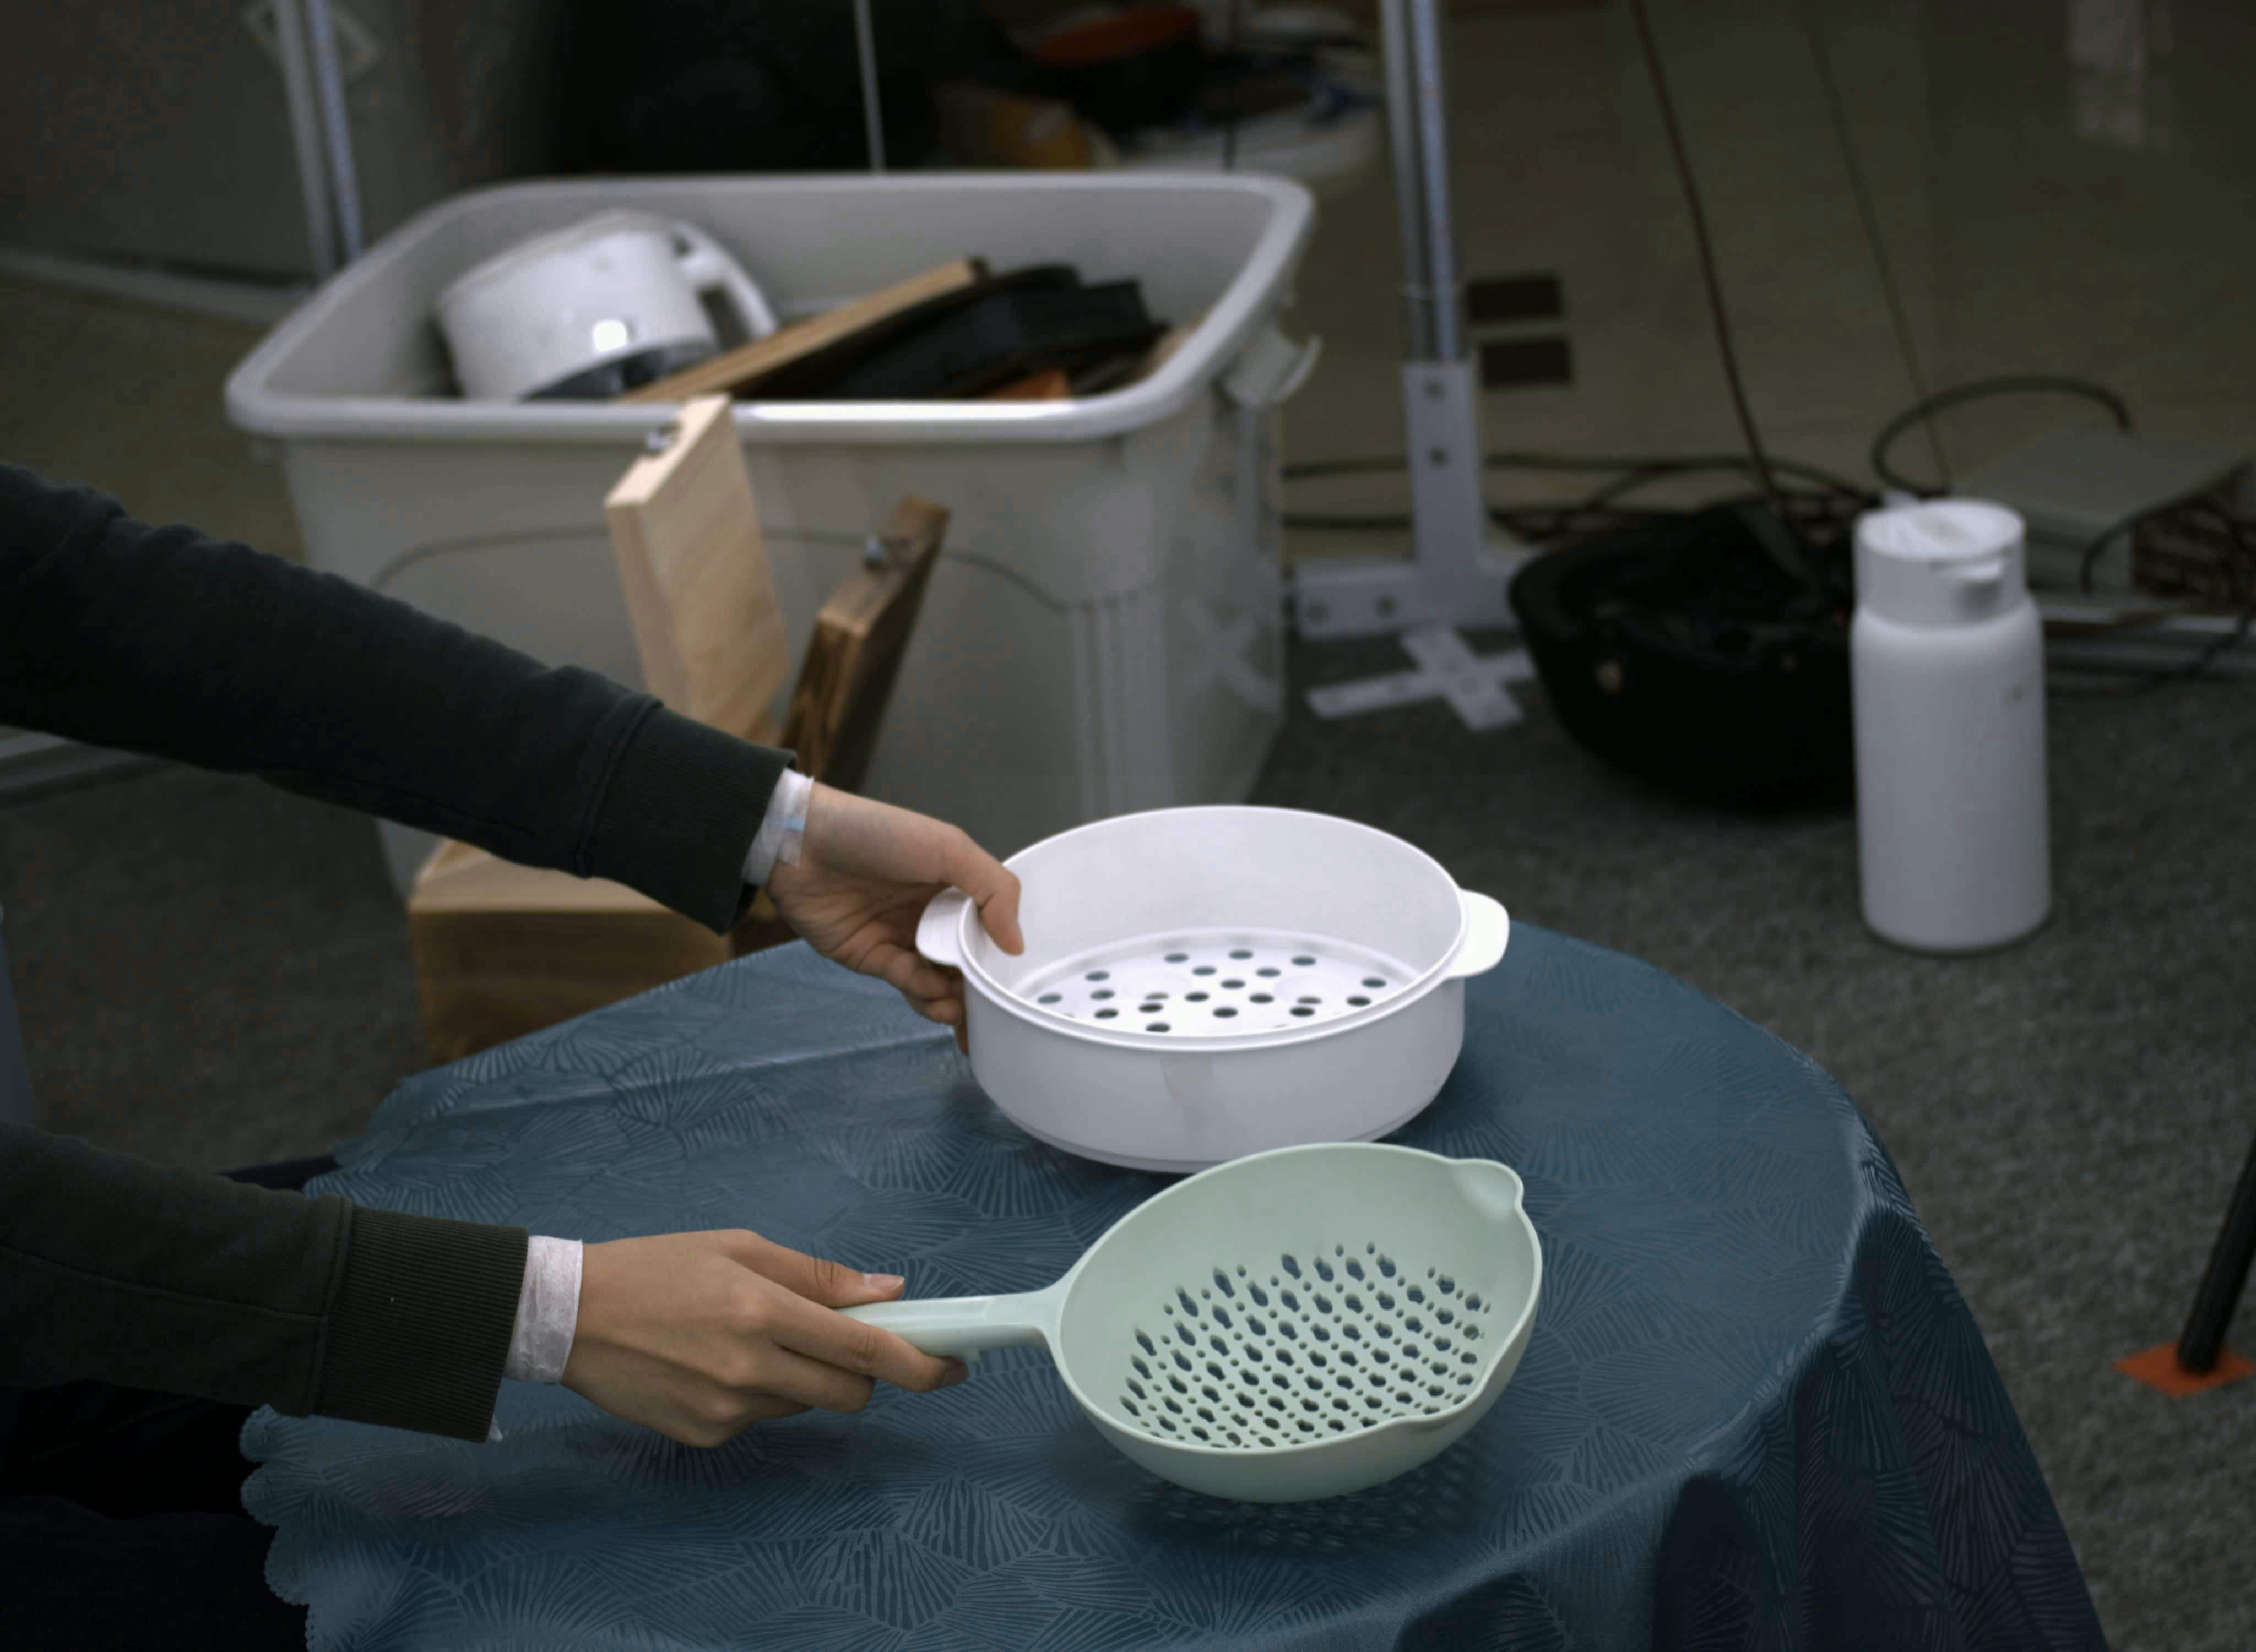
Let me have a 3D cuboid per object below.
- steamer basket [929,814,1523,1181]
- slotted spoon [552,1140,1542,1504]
[{"bbox_3d":[0.039,0.066,2.204,0.230,0.070,0.199,1,26,7],"label":"steamer basket"},{"bbox_3d":[-0.034,0.177,1.979,0.358,0.077,0.166,3,35,11],"label":"slotted spoon"}]
